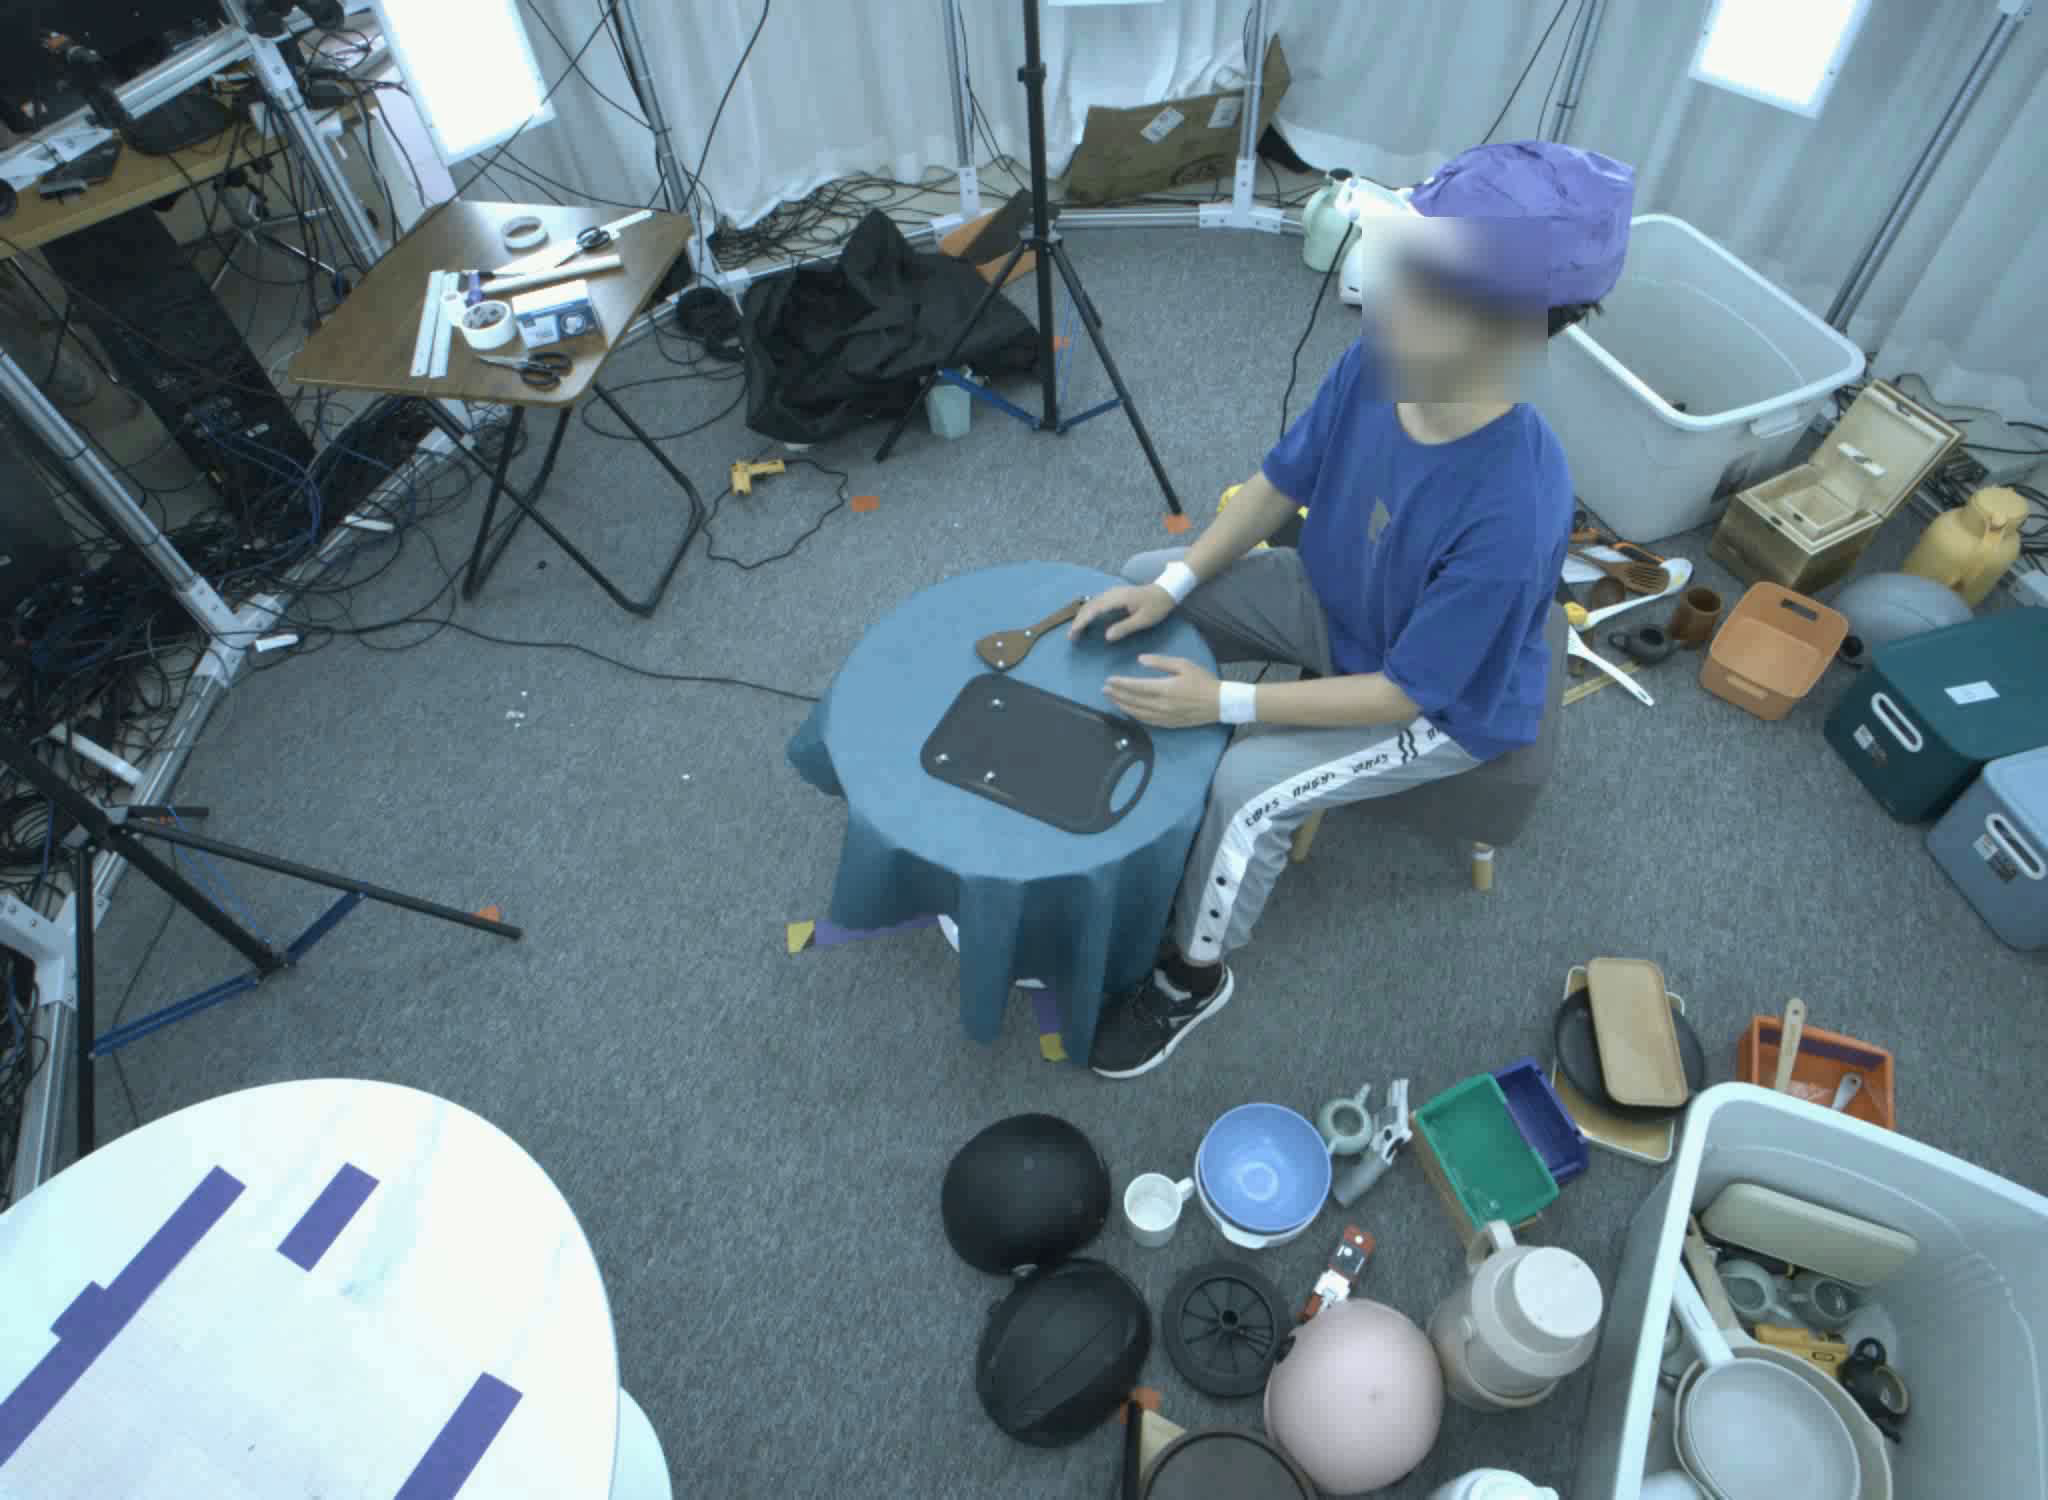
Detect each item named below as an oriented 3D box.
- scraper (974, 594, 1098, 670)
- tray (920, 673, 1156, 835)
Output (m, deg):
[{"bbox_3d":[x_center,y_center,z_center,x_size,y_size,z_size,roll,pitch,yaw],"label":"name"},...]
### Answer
[{"bbox_3d":[0.025,-0.190,1.908,0.213,0.011,0.074,-31,59,-19],"label":"scraper"},{"bbox_3d":[0.026,0.002,1.772,0.321,0.010,0.211,22,58,17],"label":"tray"}]
